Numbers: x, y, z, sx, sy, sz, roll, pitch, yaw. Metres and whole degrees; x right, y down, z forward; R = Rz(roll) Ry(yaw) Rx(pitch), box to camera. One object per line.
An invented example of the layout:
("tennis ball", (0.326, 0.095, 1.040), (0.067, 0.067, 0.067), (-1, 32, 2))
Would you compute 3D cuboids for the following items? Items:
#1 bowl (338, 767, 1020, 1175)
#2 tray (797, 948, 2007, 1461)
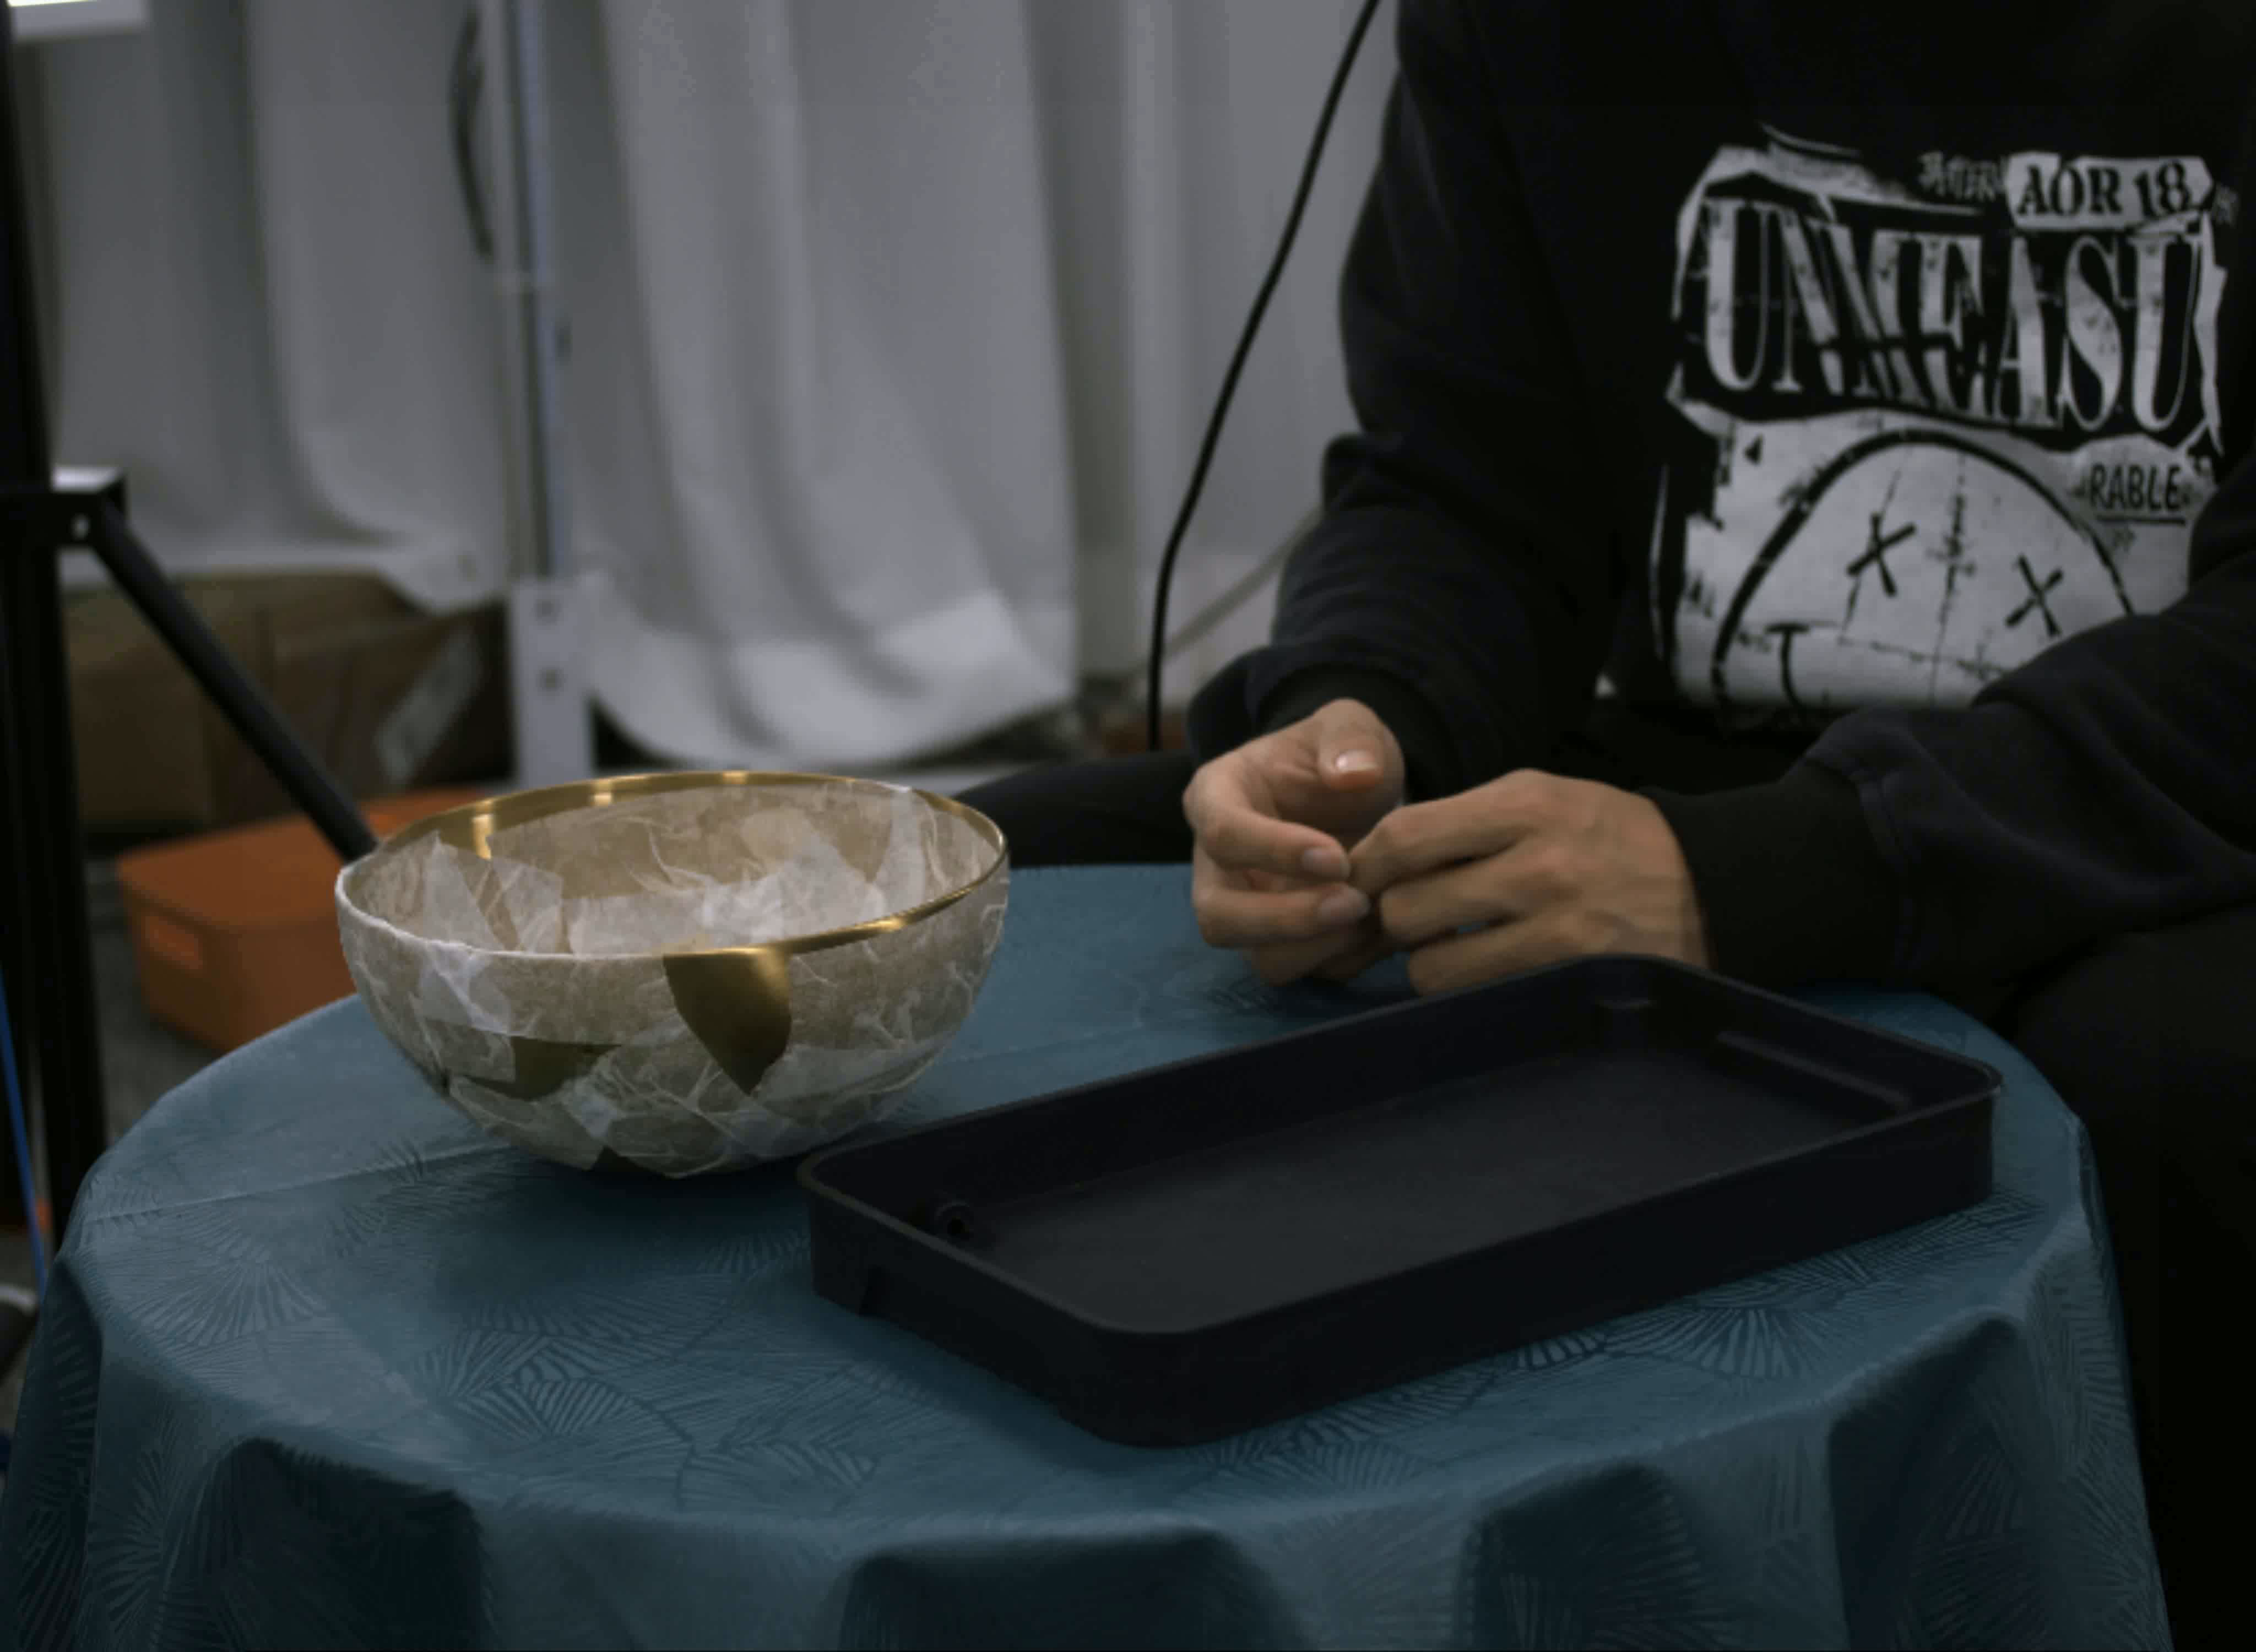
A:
("bowl", (-0.130, 0.051, 1.610), (0.213, 0.094, 0.216), (-4, 15, 0))
("tray", (0.080, 0.101, 1.507), (0.311, 0.037, 0.188), (-13, 19, -30))
